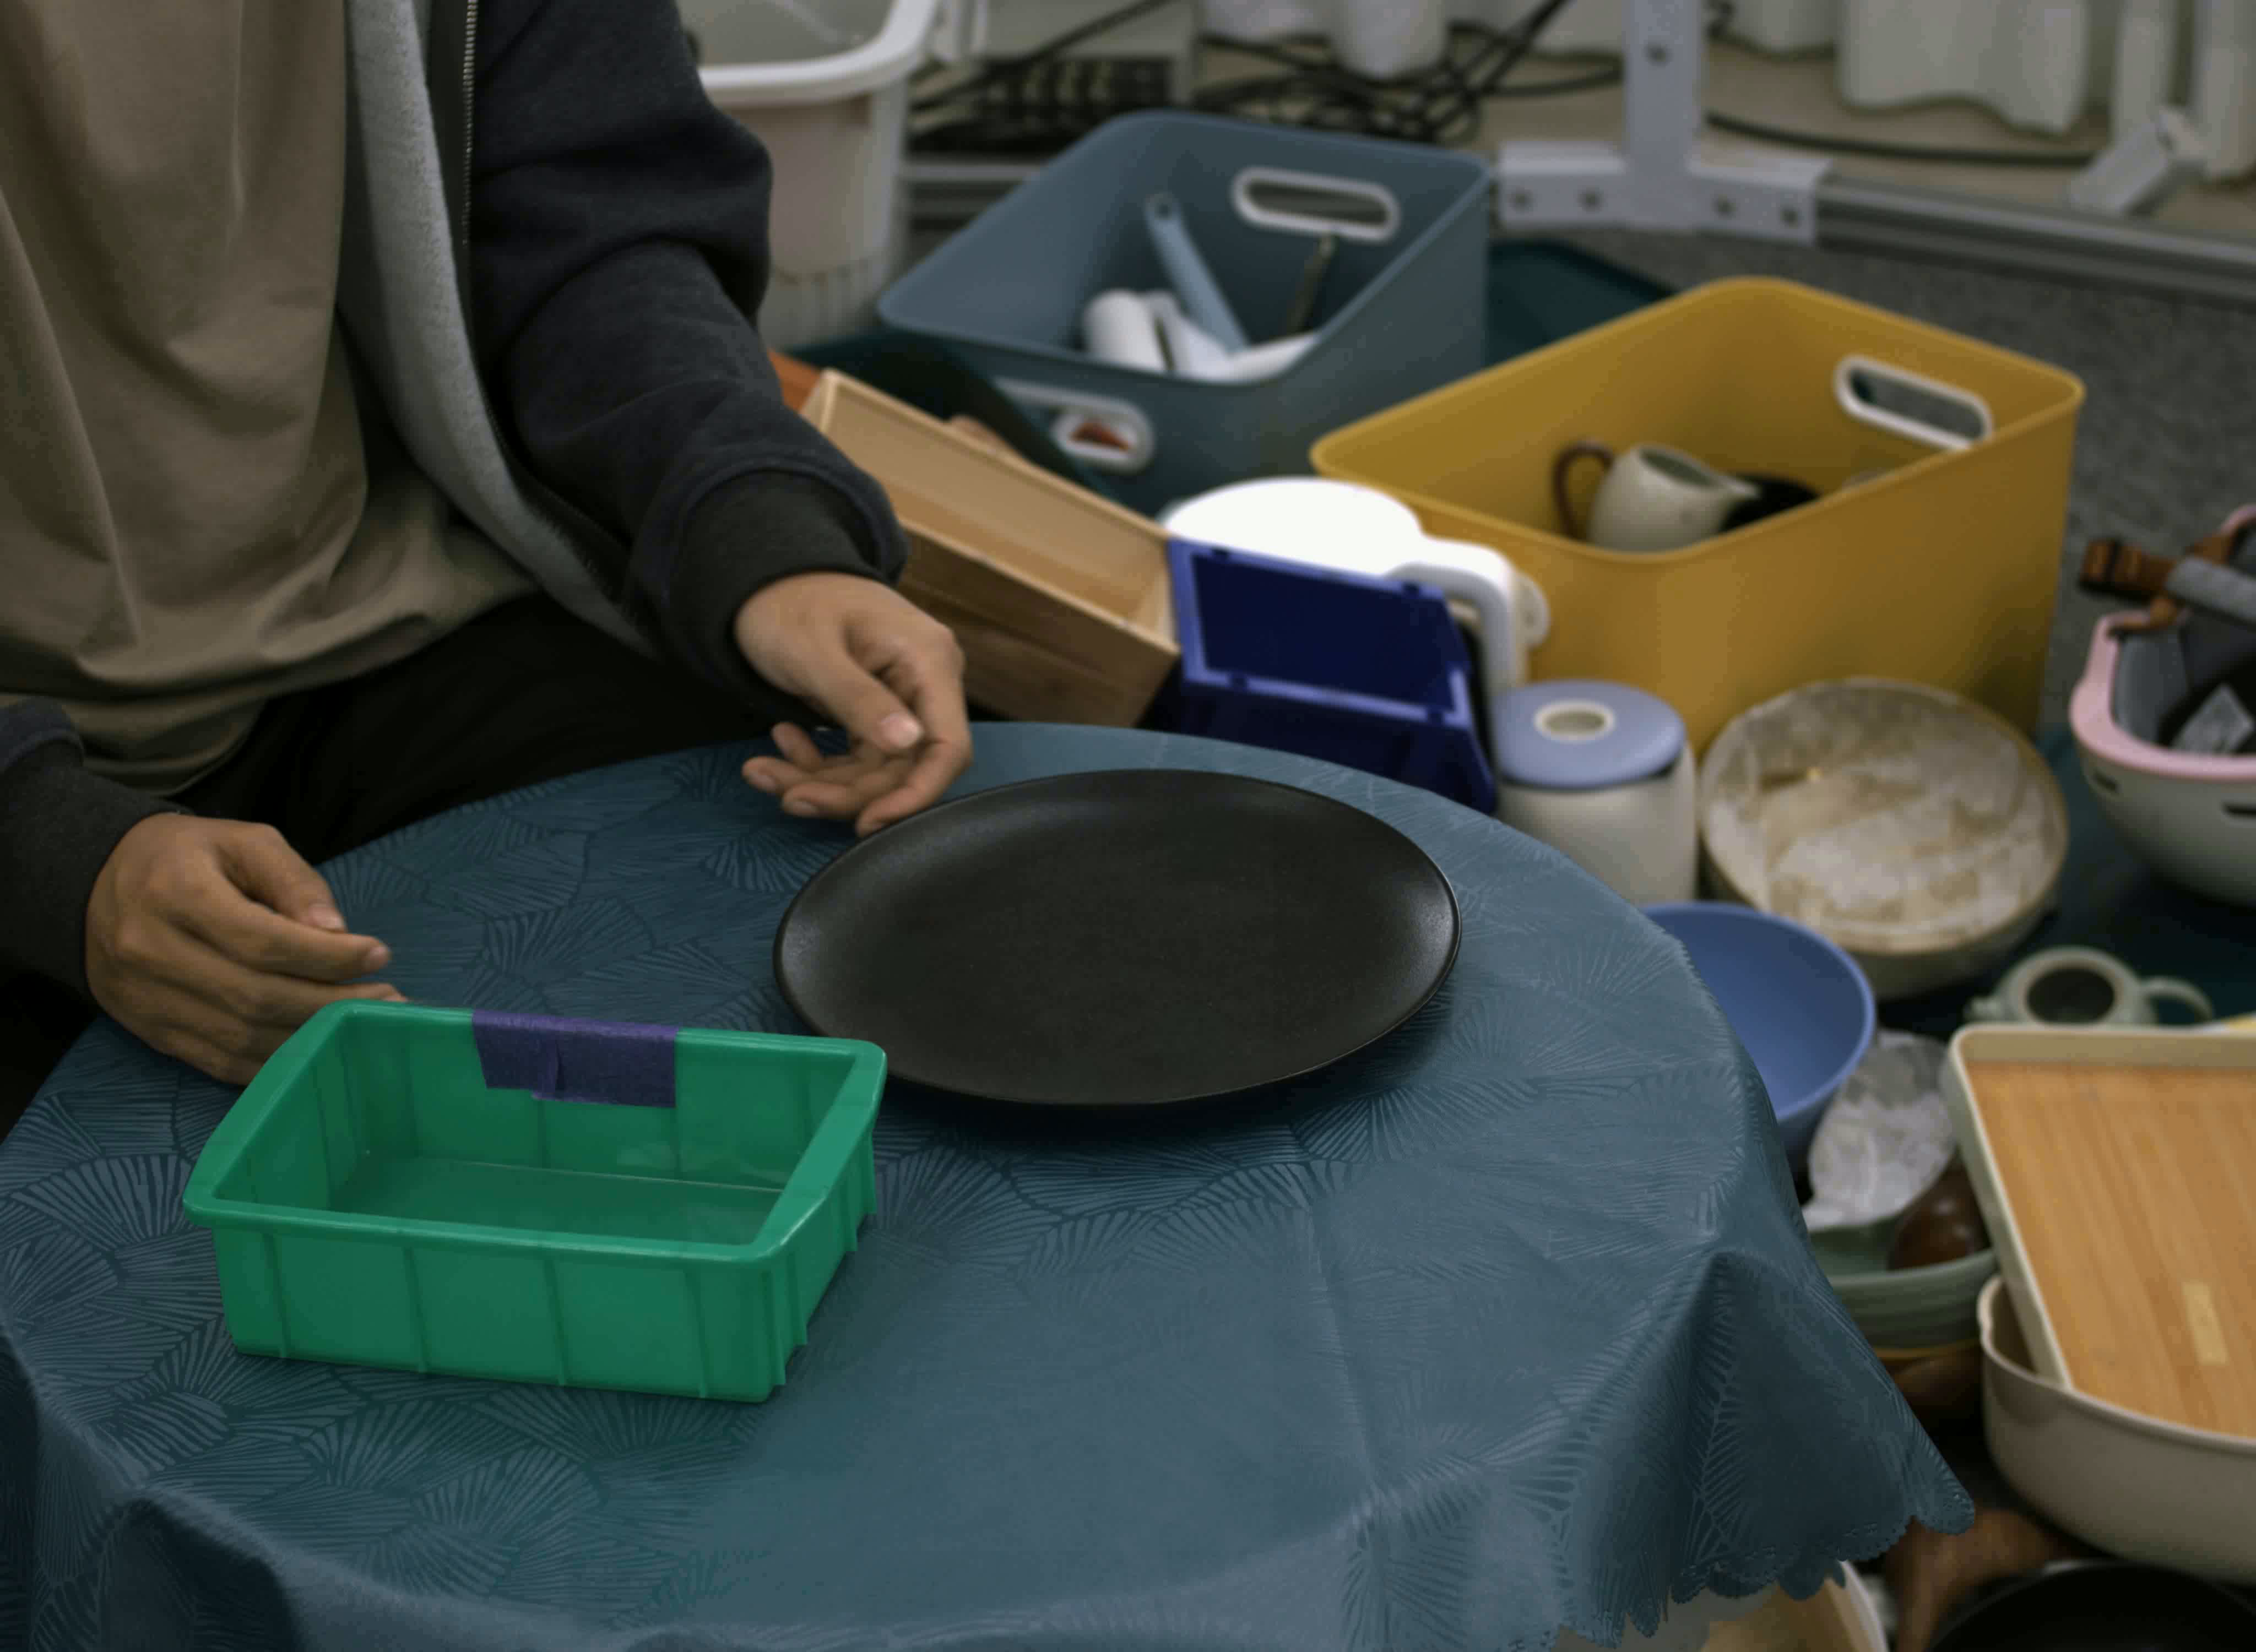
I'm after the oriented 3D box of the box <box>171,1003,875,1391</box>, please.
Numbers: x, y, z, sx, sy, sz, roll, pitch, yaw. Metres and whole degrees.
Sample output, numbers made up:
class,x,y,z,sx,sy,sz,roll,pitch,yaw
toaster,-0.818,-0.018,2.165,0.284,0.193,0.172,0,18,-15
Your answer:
class,x,y,z,sx,sy,sz,roll,pitch,yaw
box,-0.191,0.121,1.814,0.209,0.065,0.141,2,26,13

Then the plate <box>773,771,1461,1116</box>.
class,x,y,z,sx,sy,sz,roll,pitch,yaw
plate,-0.004,0.046,1.984,0.243,0.023,0.248,-2,28,2
